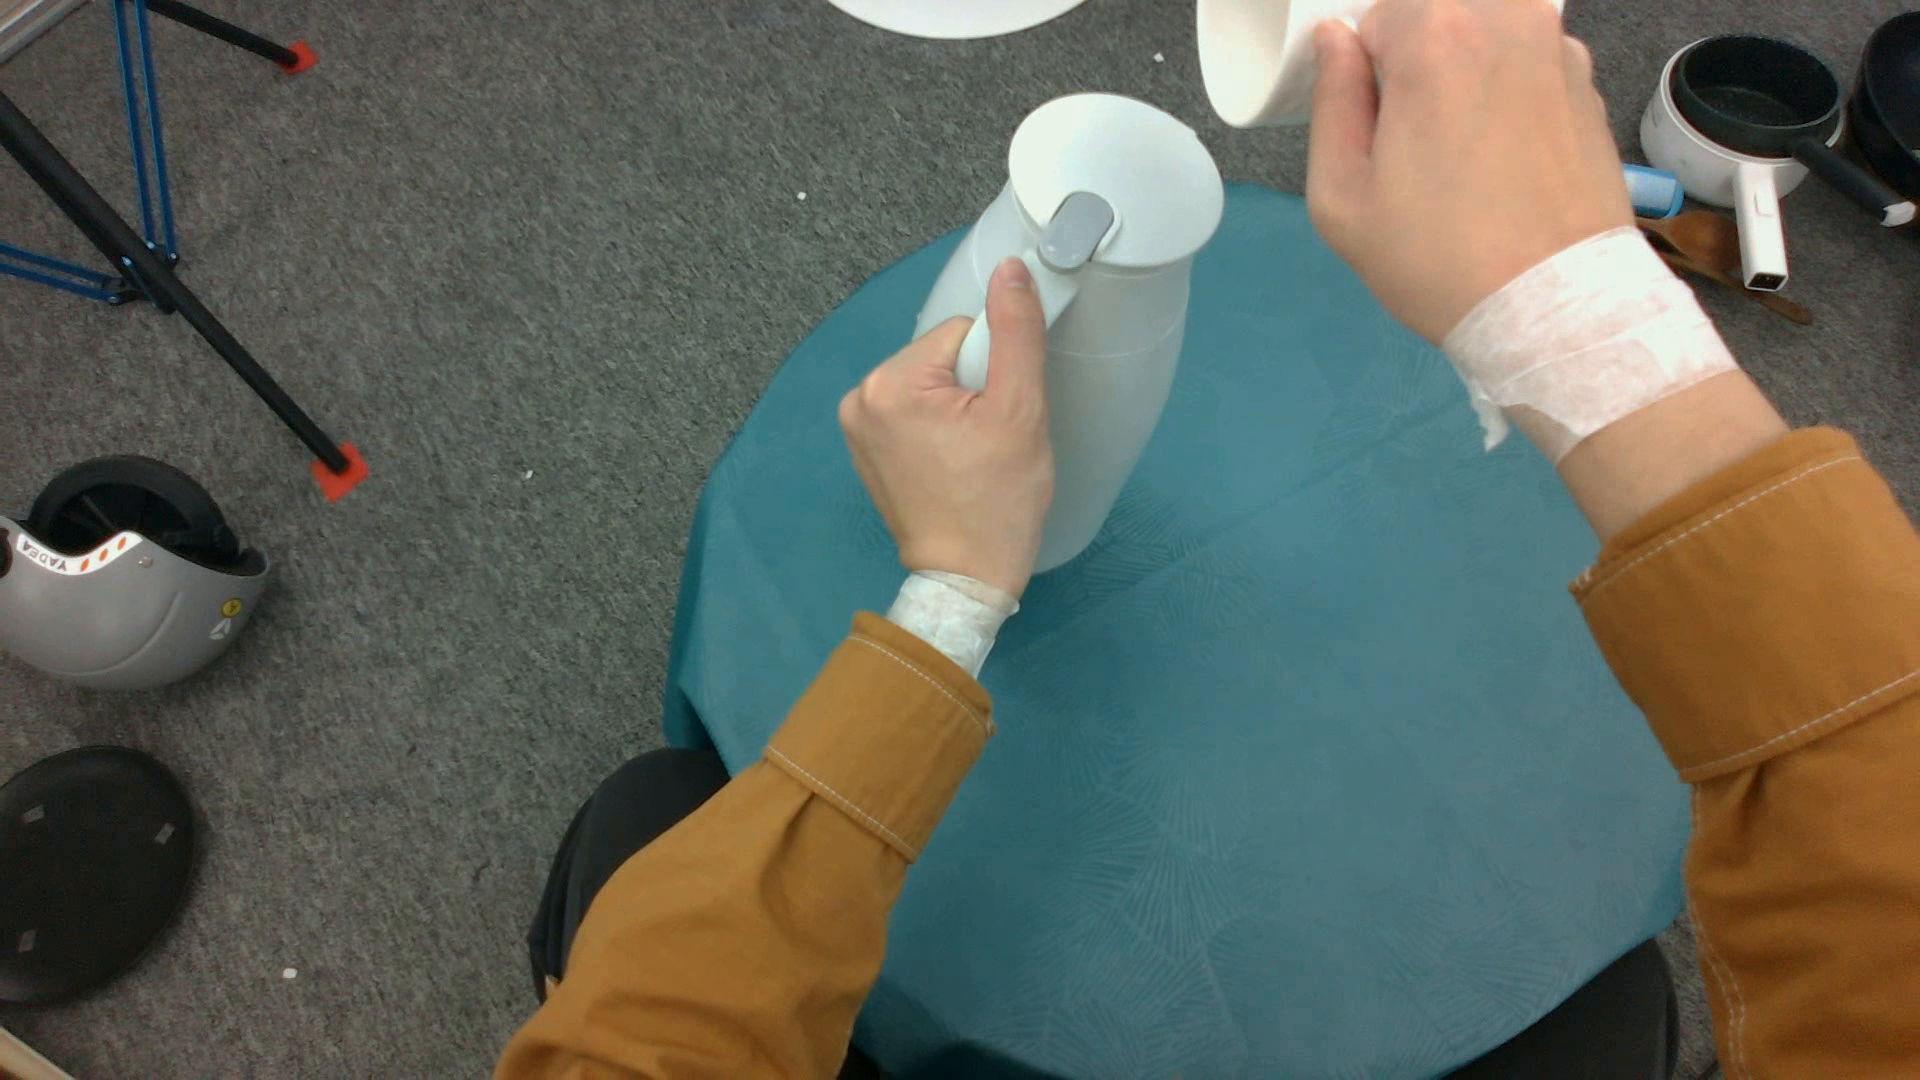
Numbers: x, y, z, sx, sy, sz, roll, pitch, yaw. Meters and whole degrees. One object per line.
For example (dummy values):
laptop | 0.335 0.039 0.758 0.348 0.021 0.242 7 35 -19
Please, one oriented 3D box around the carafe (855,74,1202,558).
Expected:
carafe | 0.023 -0.090 0.655 0.132 0.247 0.168 34 60 5

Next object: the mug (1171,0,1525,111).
mug | 0.142 -0.191 0.484 0.102 0.084 0.118 -7 41 -11
